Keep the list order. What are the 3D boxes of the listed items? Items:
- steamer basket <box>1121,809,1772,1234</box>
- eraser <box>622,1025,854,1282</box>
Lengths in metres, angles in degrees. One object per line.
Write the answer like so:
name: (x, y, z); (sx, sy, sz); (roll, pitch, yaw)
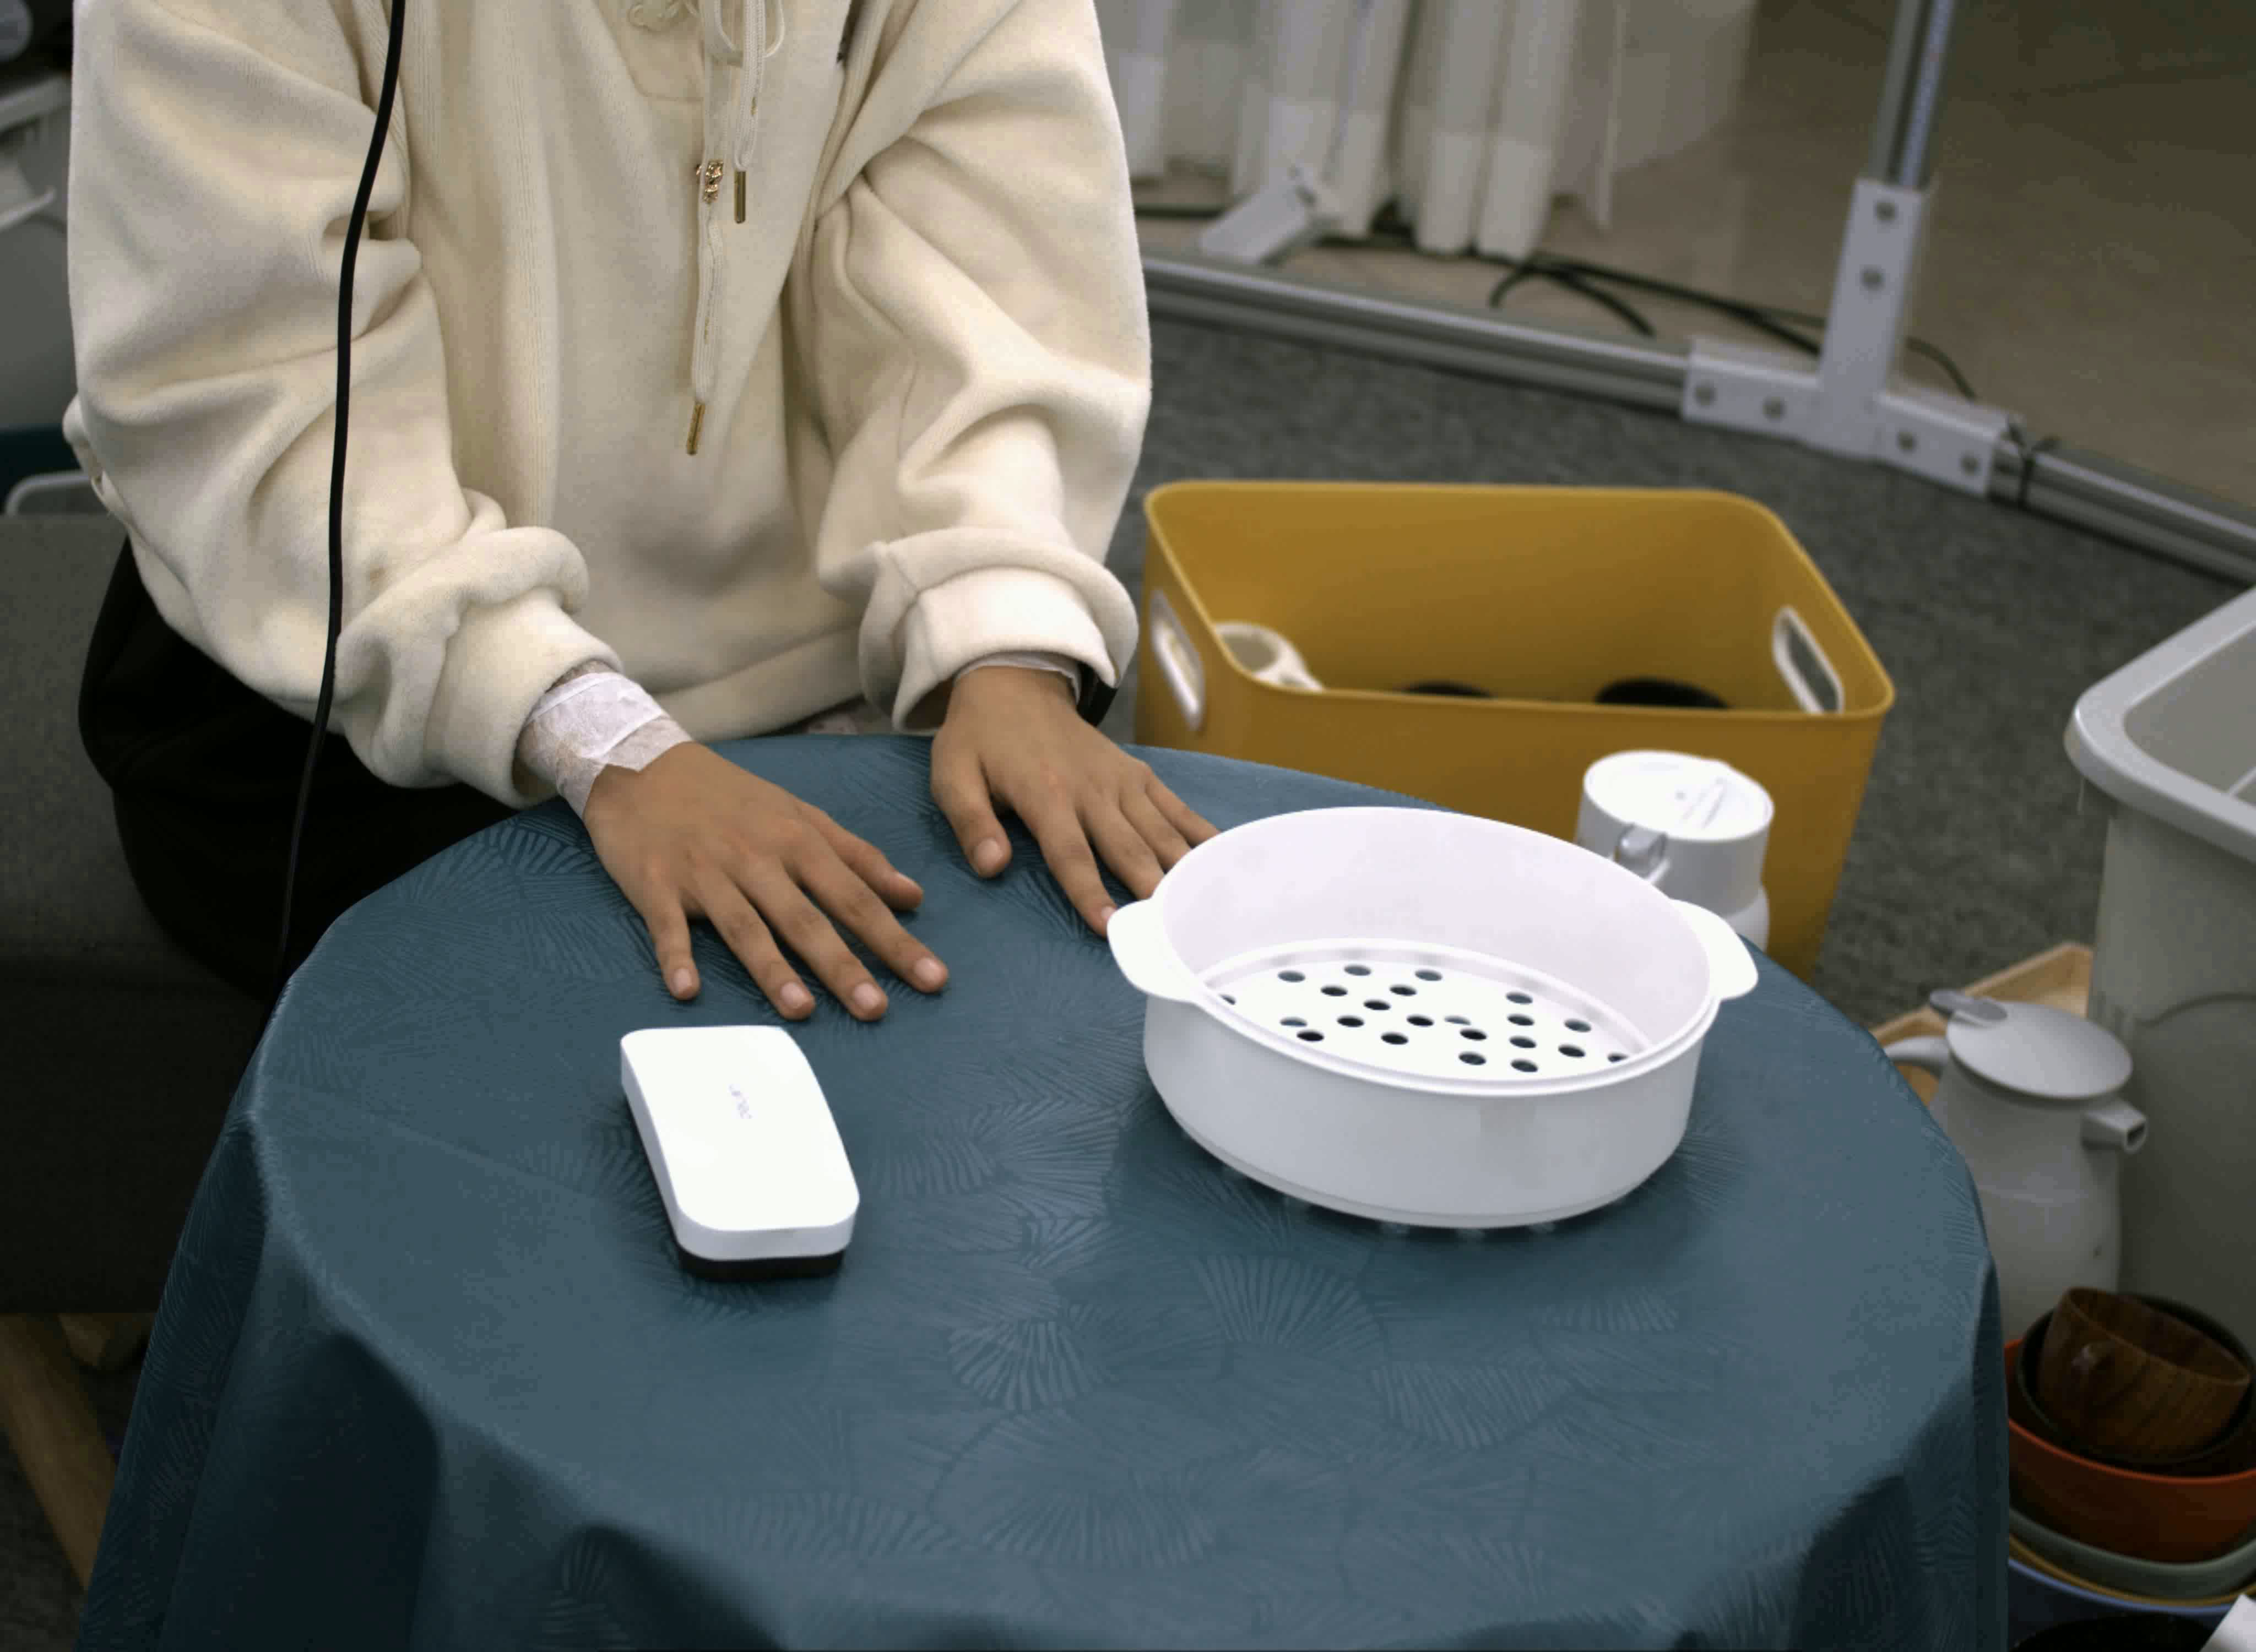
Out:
steamer basket: (0.109, 0.068, 1.862); (0.229, 0.069, 0.203); (1, 27, -13)
eraser: (-0.130, 0.105, 1.775); (0.063, 0.034, 0.132); (-1, 28, -14)
